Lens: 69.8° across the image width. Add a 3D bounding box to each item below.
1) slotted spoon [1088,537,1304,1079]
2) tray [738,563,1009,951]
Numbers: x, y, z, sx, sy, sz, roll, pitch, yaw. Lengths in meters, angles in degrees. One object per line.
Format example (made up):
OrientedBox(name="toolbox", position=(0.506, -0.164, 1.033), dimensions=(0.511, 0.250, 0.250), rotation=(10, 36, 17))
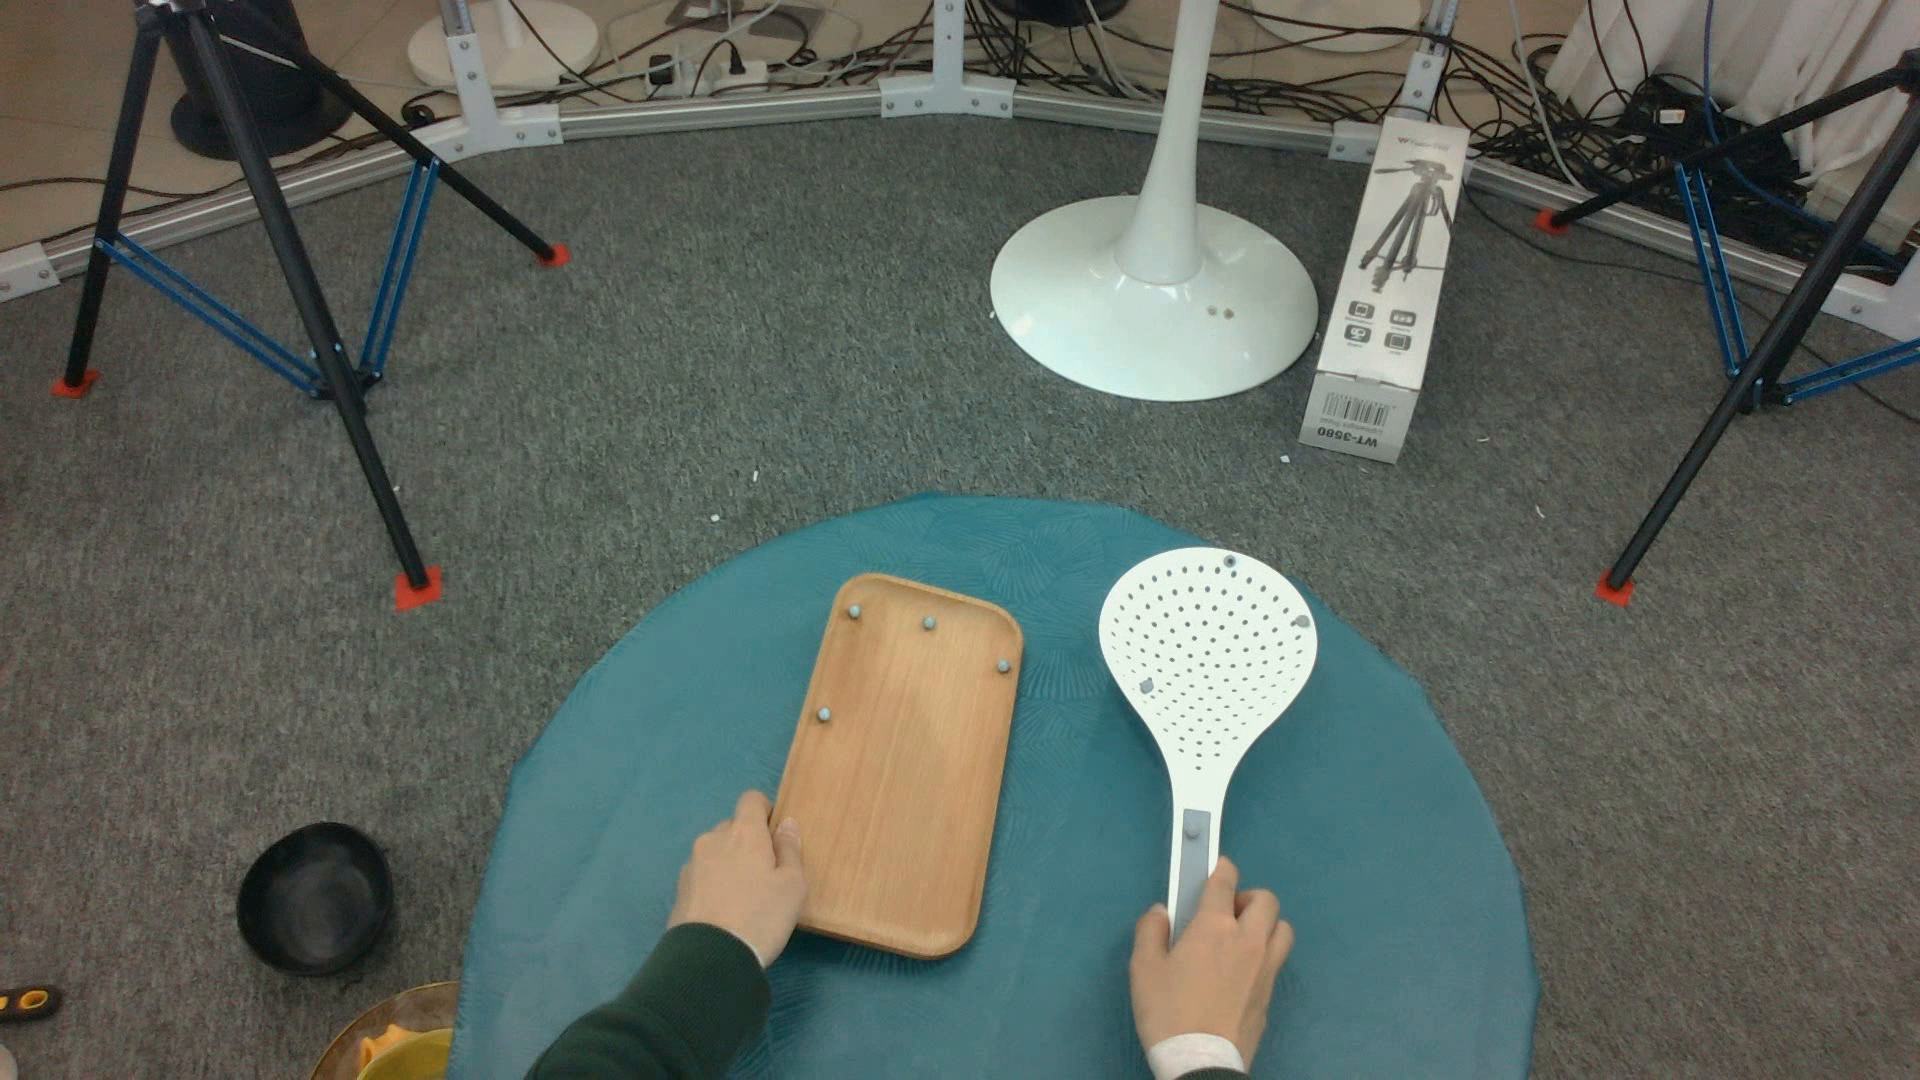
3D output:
OrientedBox(name="slotted spoon", position=(0.133, 0.141, 0.815), dimensions=(0.136, 0.045, 0.351), rotation=(5, 48, 9))
OrientedBox(name="tray", position=(-0.046, 0.122, 0.829), dimensions=(0.130, 0.023, 0.252), rotation=(14, 49, -2))
